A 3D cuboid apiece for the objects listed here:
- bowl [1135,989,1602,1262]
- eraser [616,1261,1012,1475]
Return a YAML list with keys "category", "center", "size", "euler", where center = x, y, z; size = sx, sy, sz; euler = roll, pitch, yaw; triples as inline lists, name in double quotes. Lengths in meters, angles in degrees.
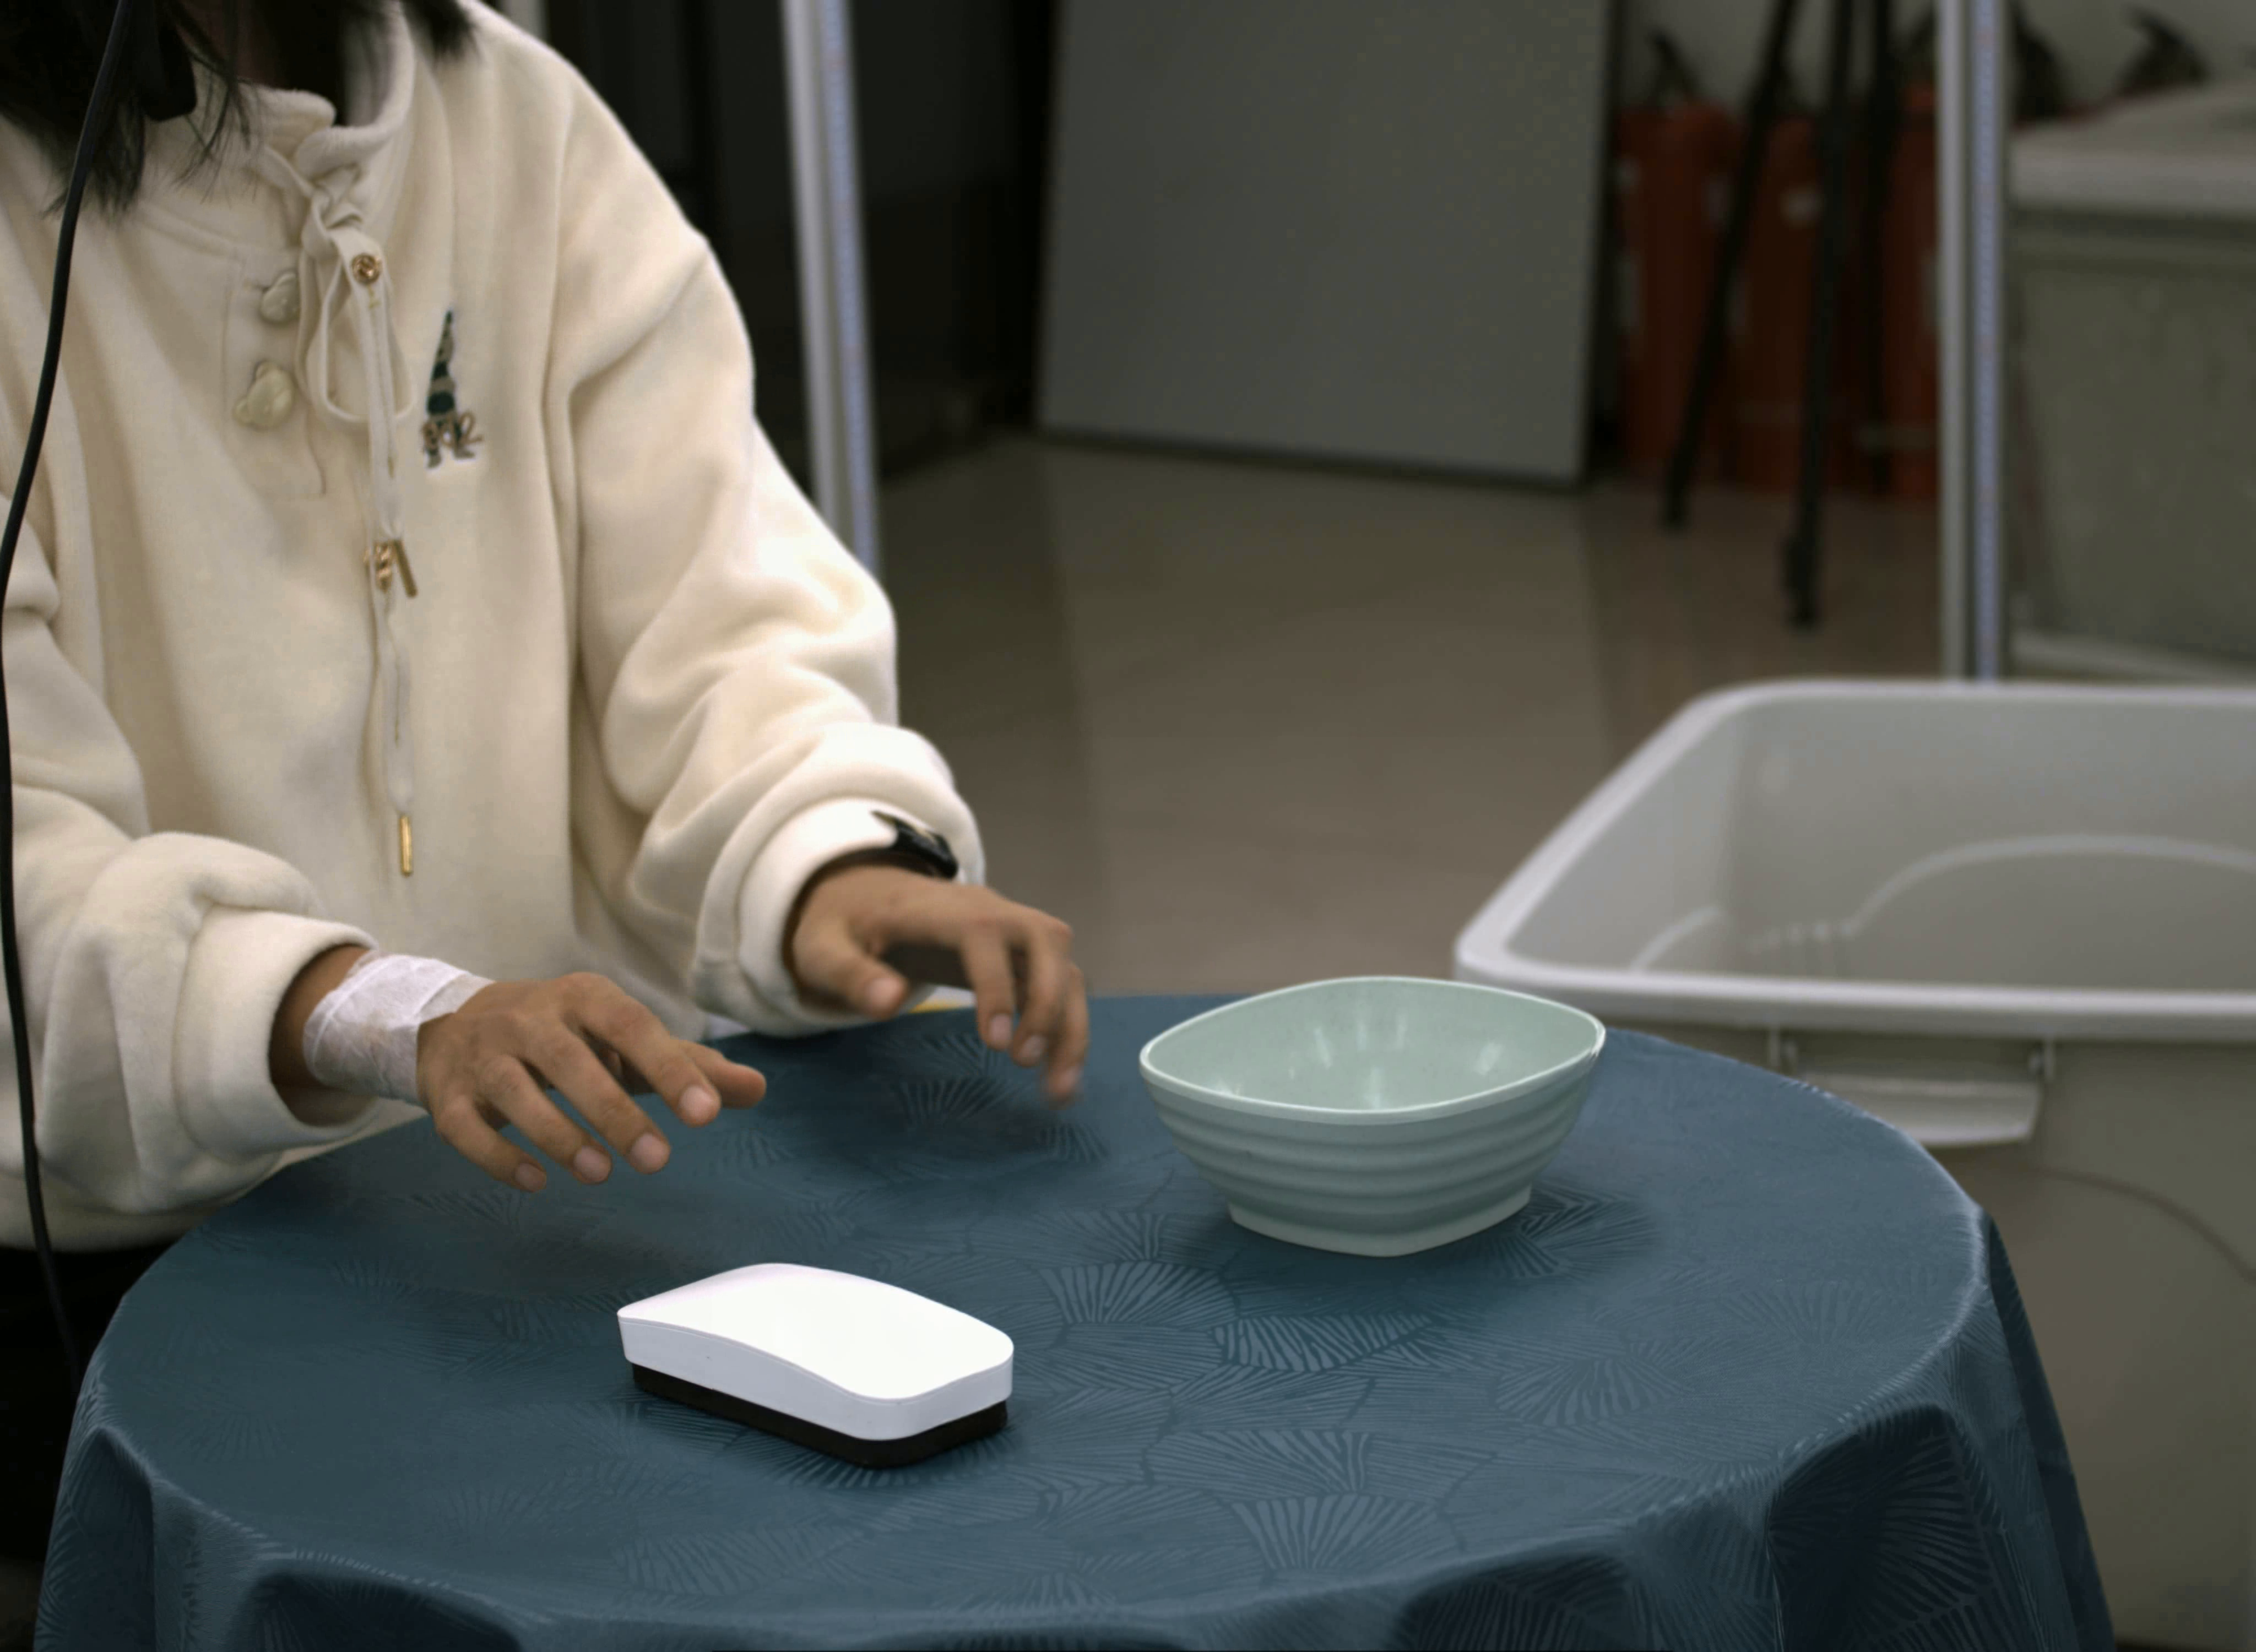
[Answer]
- category: "bowl"
  center: [0.078, 0.098, 1.725]
  size: [0.149, 0.059, 0.151]
  euler: [-3, 12, 0]
- category: "eraser"
  center: [-0.092, 0.156, 1.590]
  size: [0.062, 0.035, 0.132]
  euler: [-16, 18, -39]
